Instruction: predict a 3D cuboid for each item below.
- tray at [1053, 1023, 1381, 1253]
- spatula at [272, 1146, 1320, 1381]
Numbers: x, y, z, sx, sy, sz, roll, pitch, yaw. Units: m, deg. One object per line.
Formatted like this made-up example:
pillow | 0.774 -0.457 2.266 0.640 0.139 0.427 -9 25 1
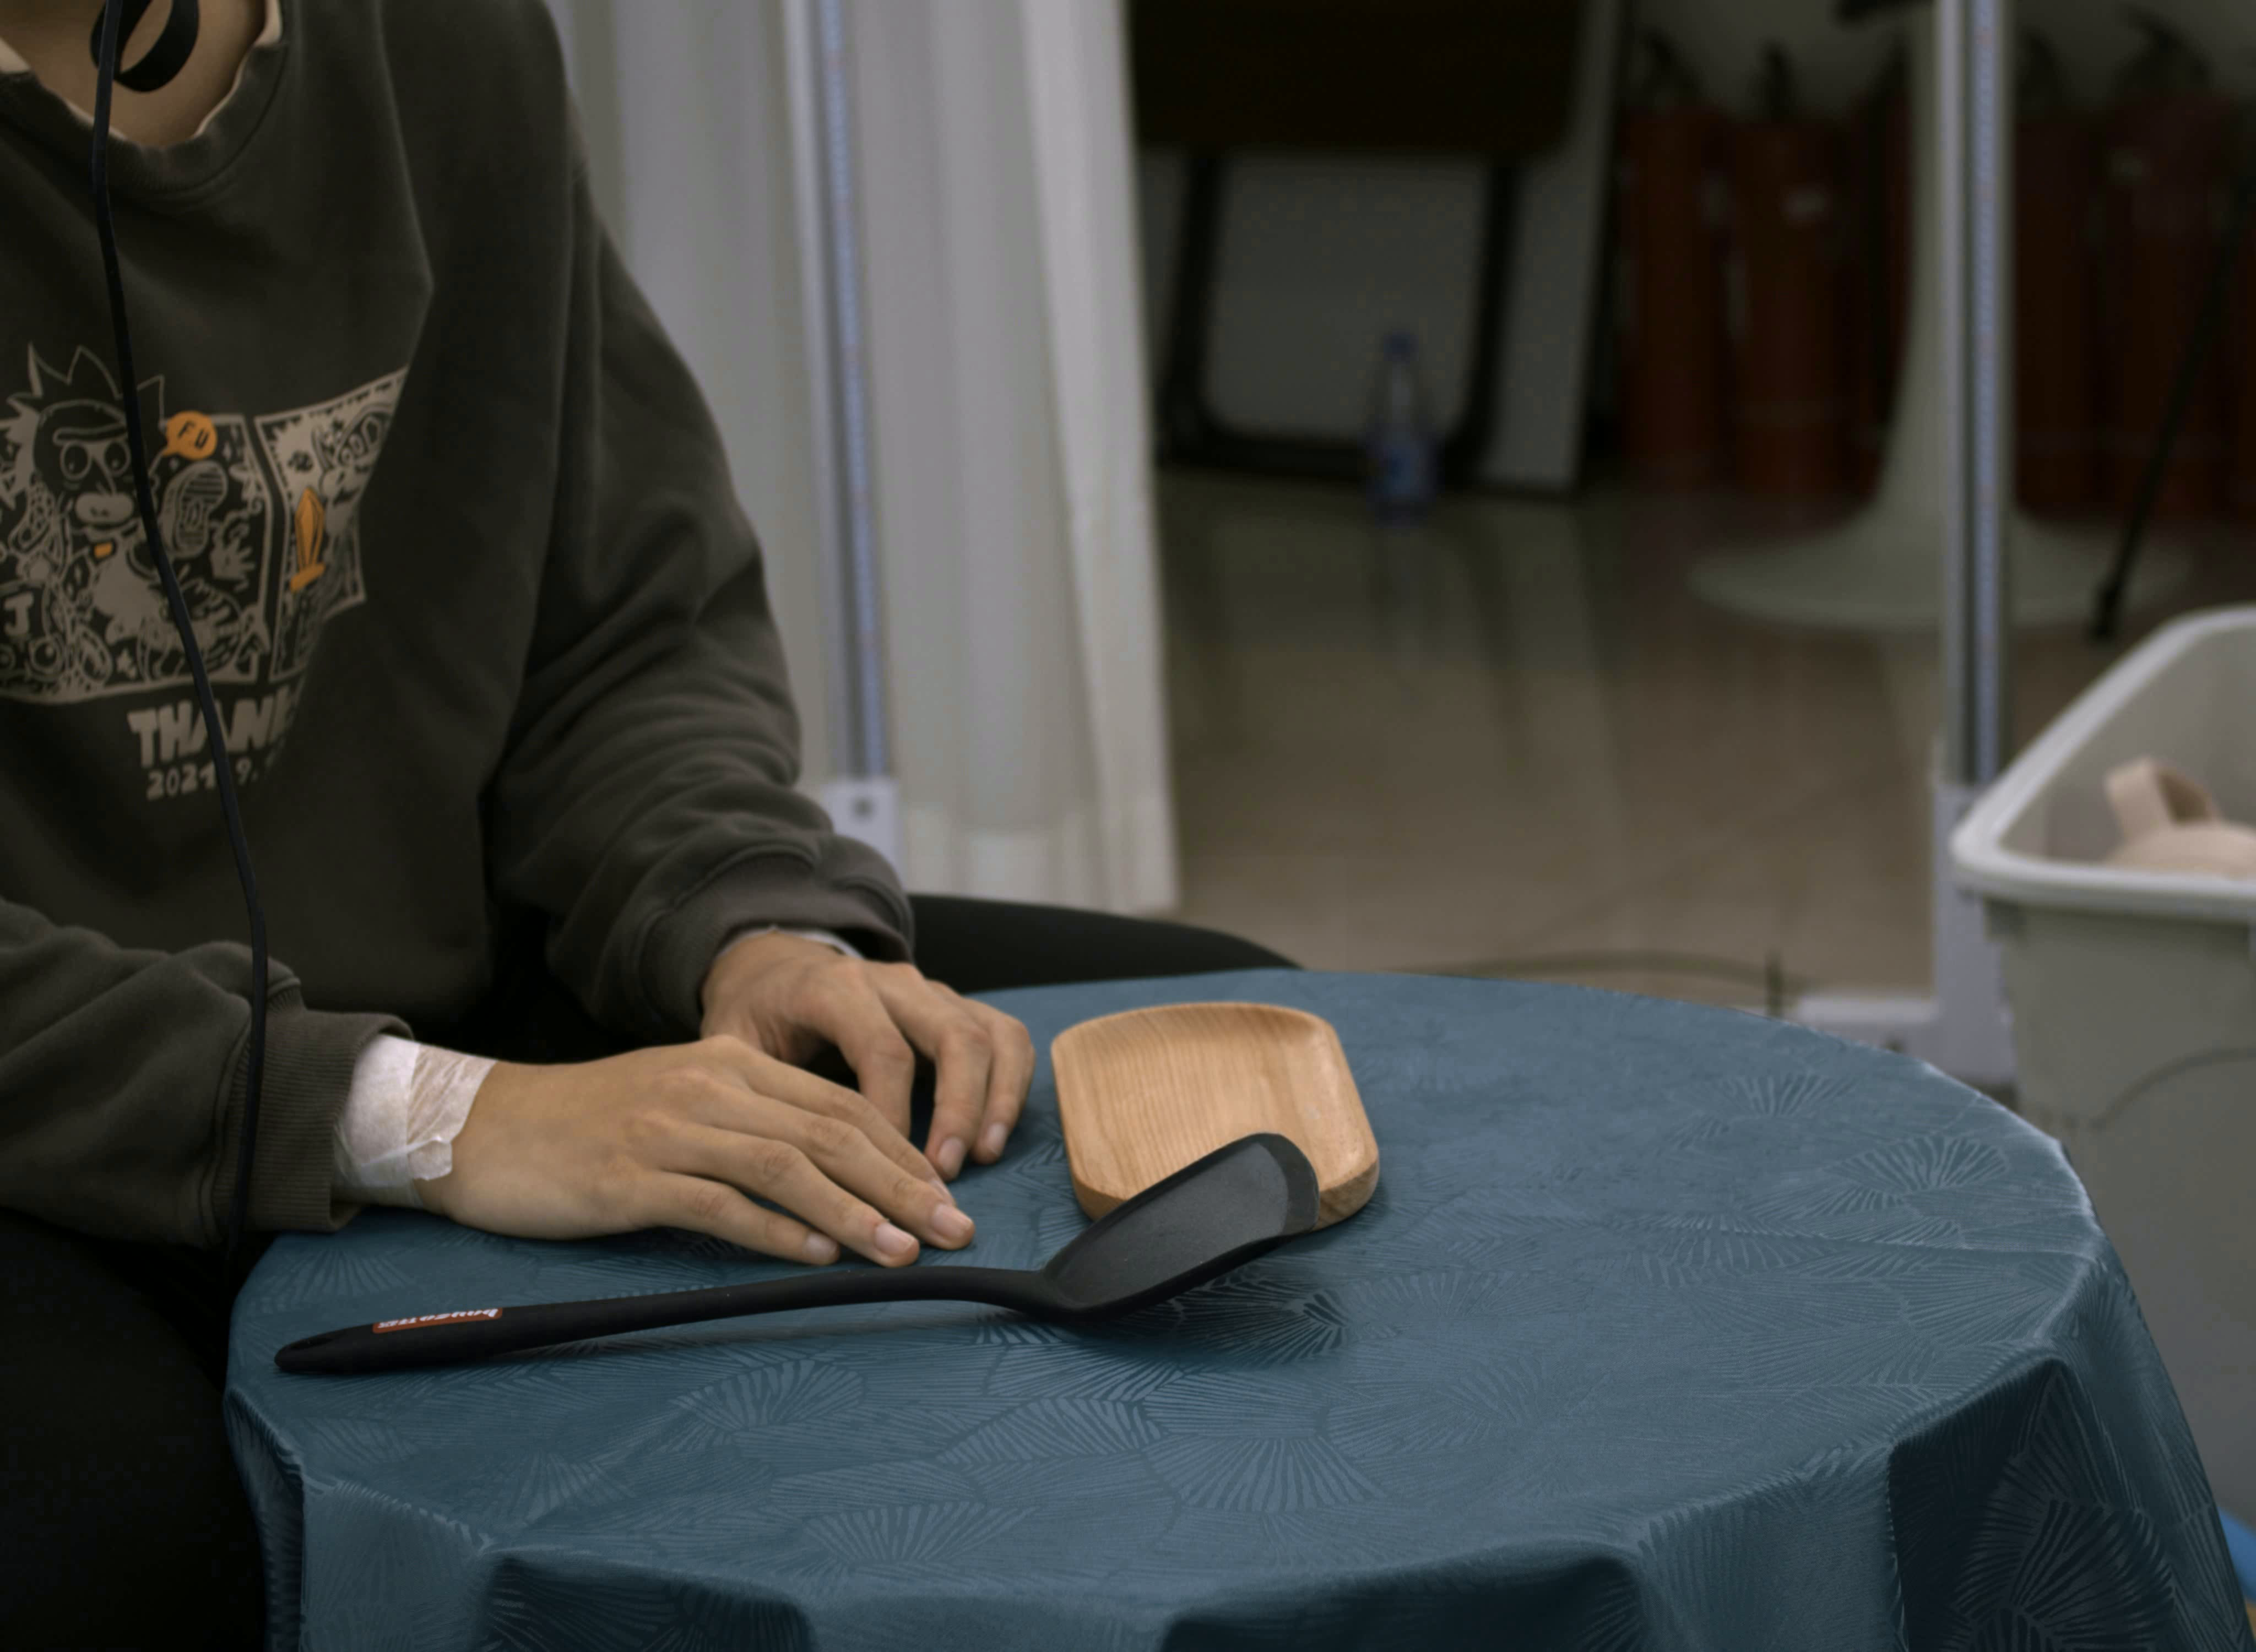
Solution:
tray | 0.028 0.103 1.813 0.100 0.020 0.232 -5 14 -2
spatula | -0.101 0.140 1.654 0.321 0.041 0.100 -4 12 -1
